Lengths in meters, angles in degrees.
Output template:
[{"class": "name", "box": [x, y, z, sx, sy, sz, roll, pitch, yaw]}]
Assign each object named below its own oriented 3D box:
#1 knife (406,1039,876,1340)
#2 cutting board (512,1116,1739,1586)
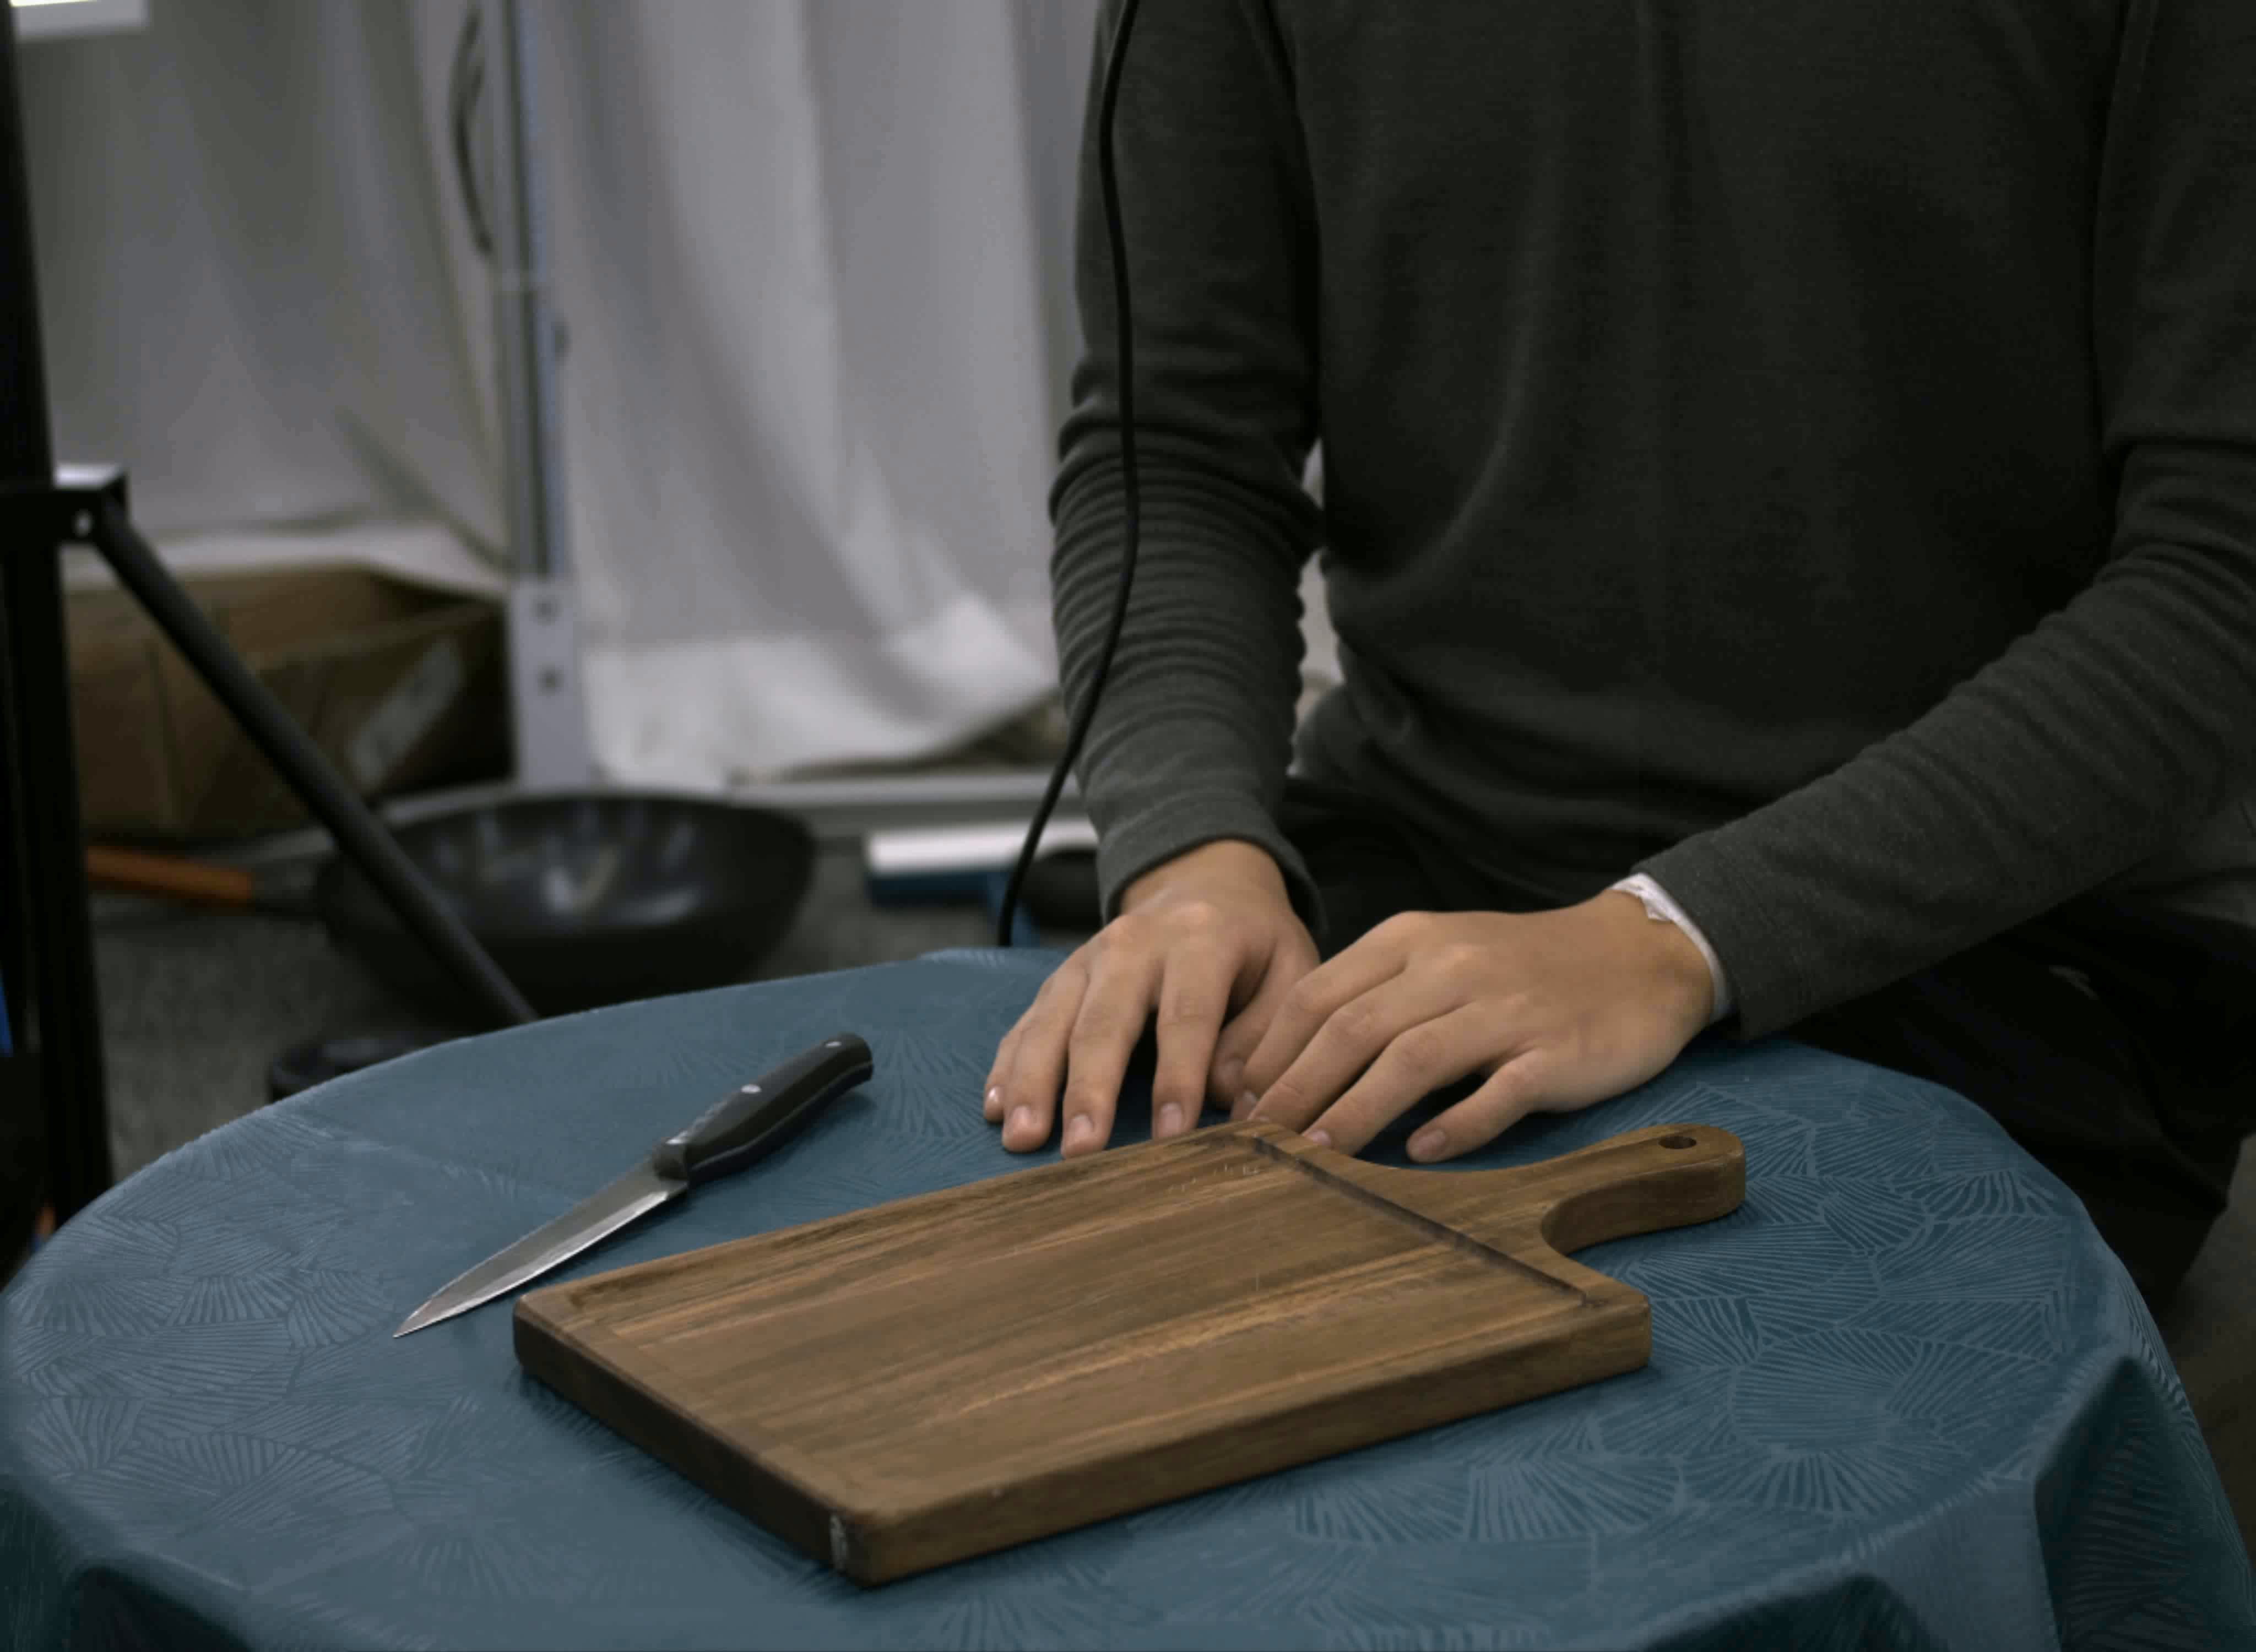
[{"class": "knife", "box": [-0.143, 0.107, 1.568, 0.025, 0.016, 0.234, 4, 20, 30]}, {"class": "cutting board", "box": [0.029, 0.127, 1.452, 0.344, 0.023, 0.205, -12, 18, -30]}]
